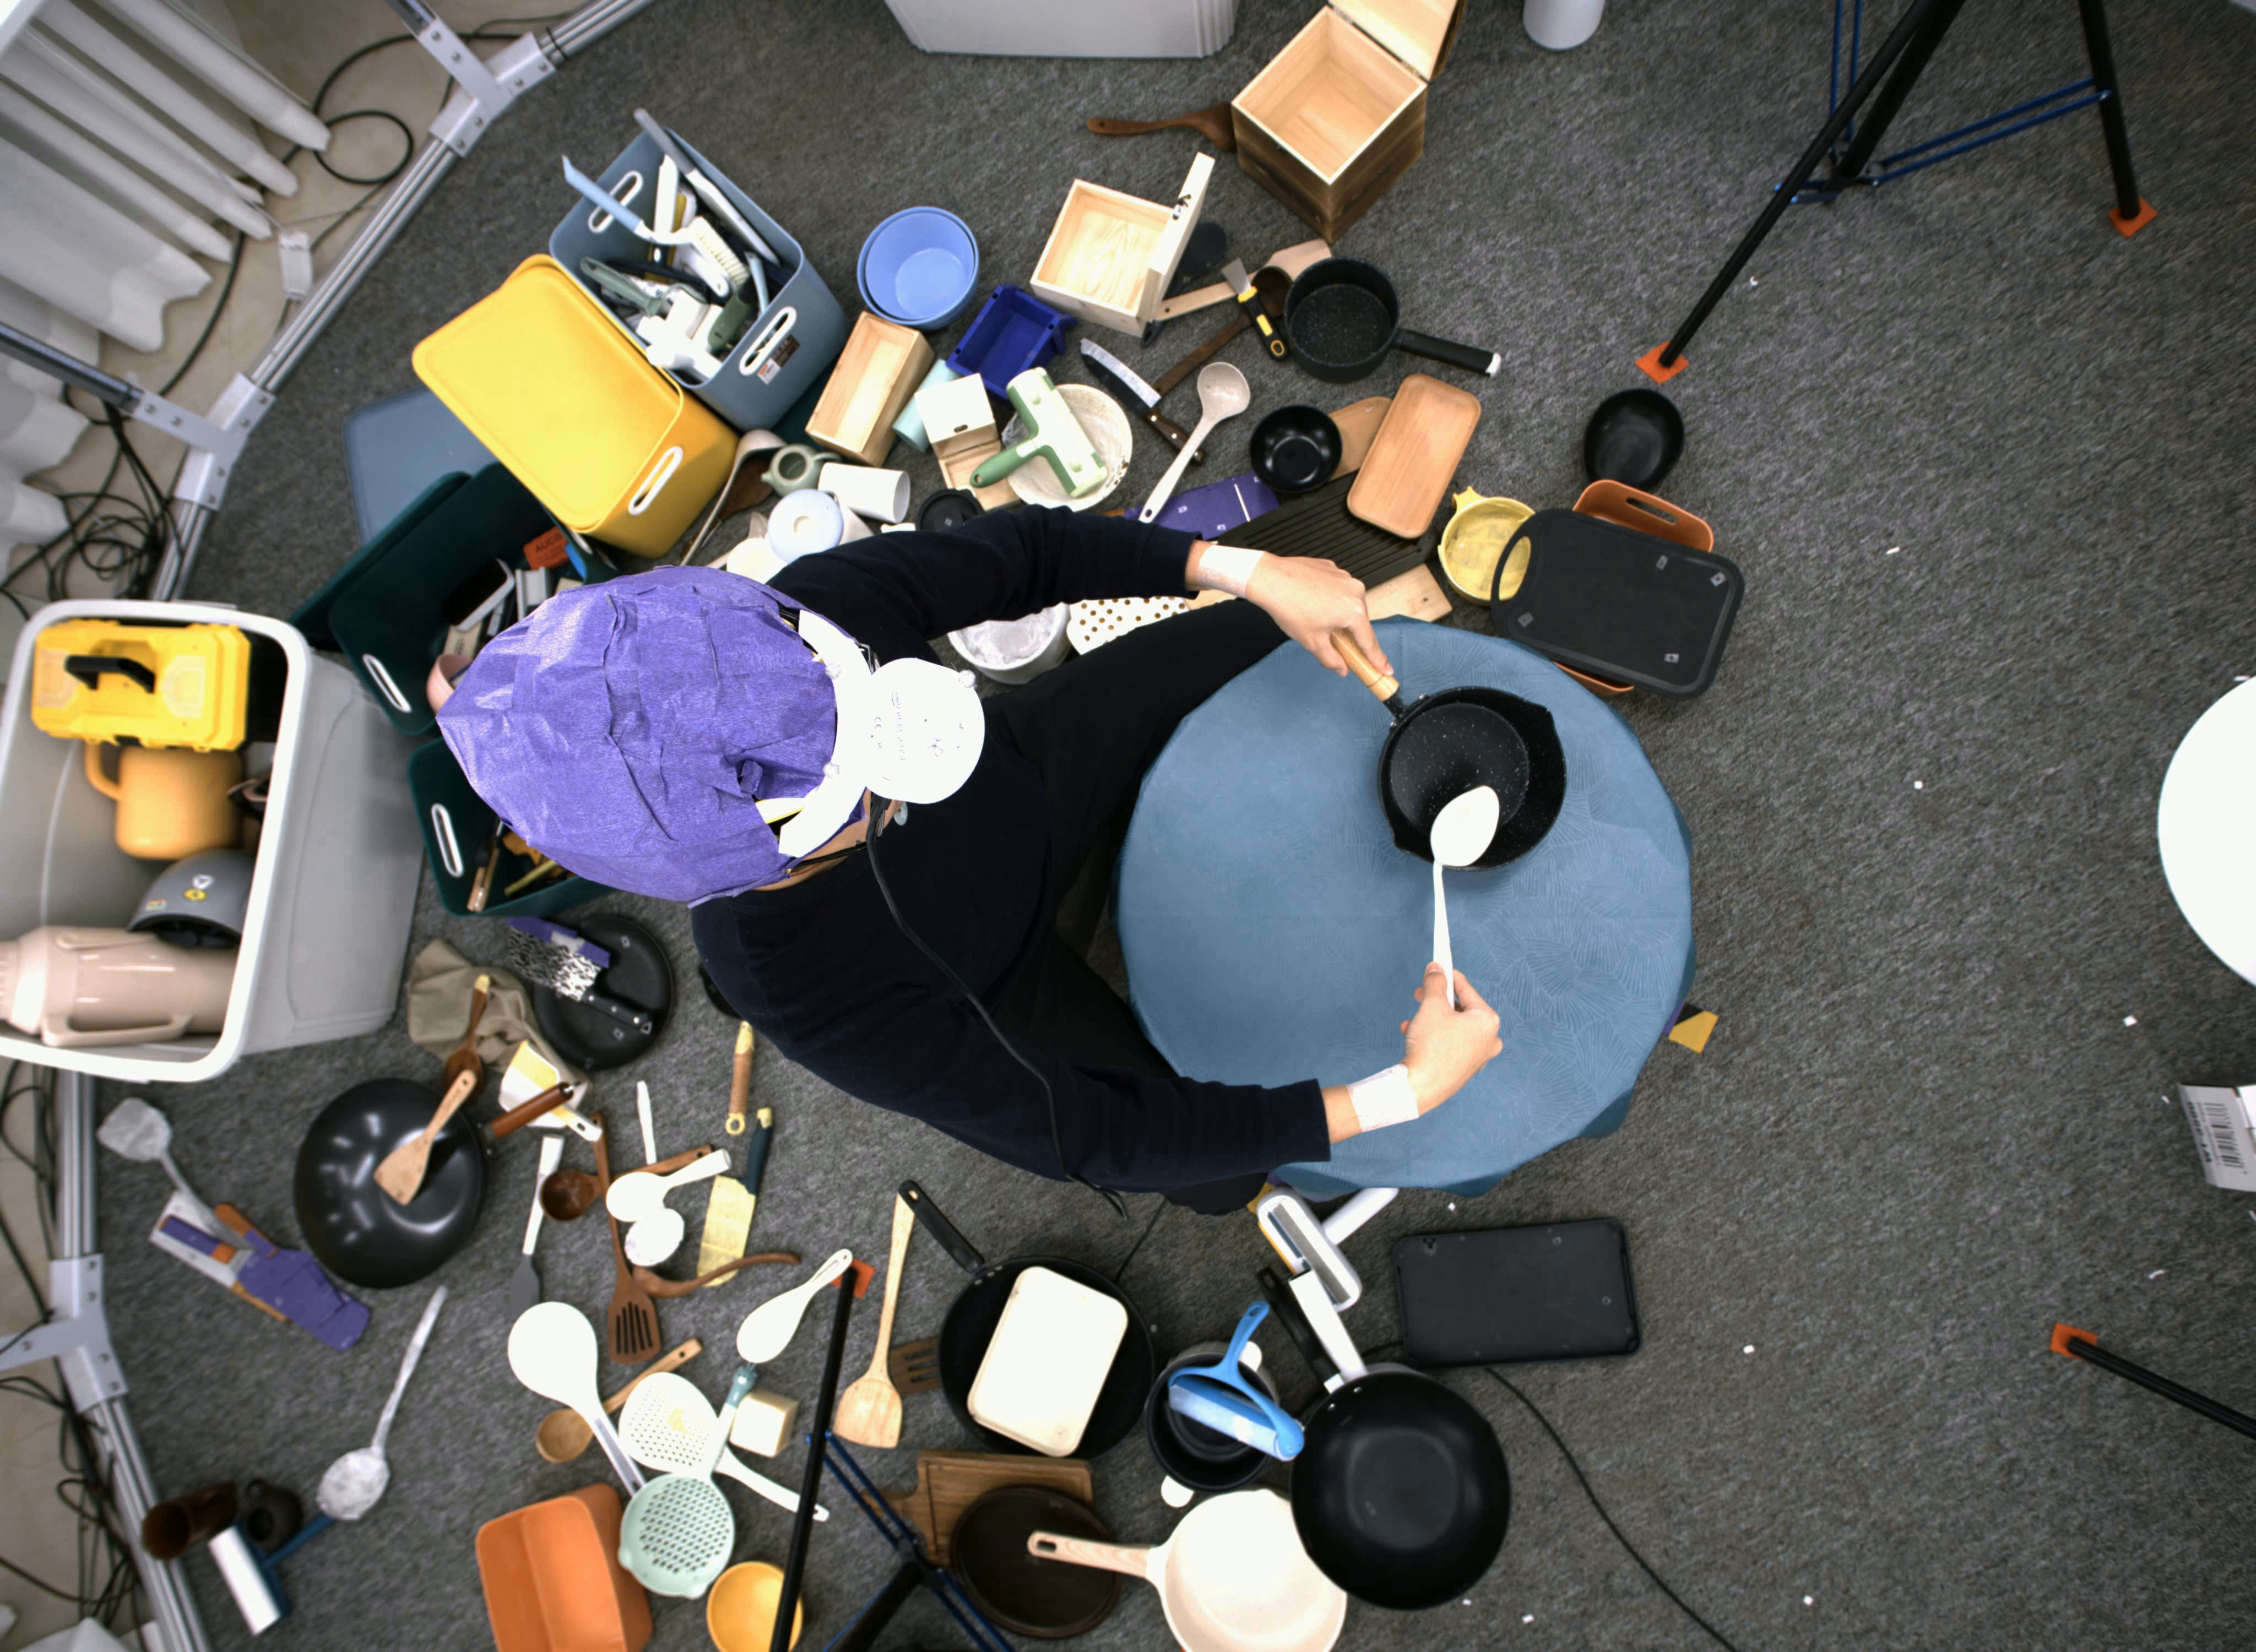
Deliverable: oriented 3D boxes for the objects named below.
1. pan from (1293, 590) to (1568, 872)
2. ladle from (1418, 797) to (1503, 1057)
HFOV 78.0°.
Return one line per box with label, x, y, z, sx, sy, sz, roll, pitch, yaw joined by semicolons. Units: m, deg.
pan;0.285;-0.106;1.377;0.343;0.107;0.209;44;101;-5
ladle;0.318;0.090;1.307;0.070;0.092;0.285;3;49;13
